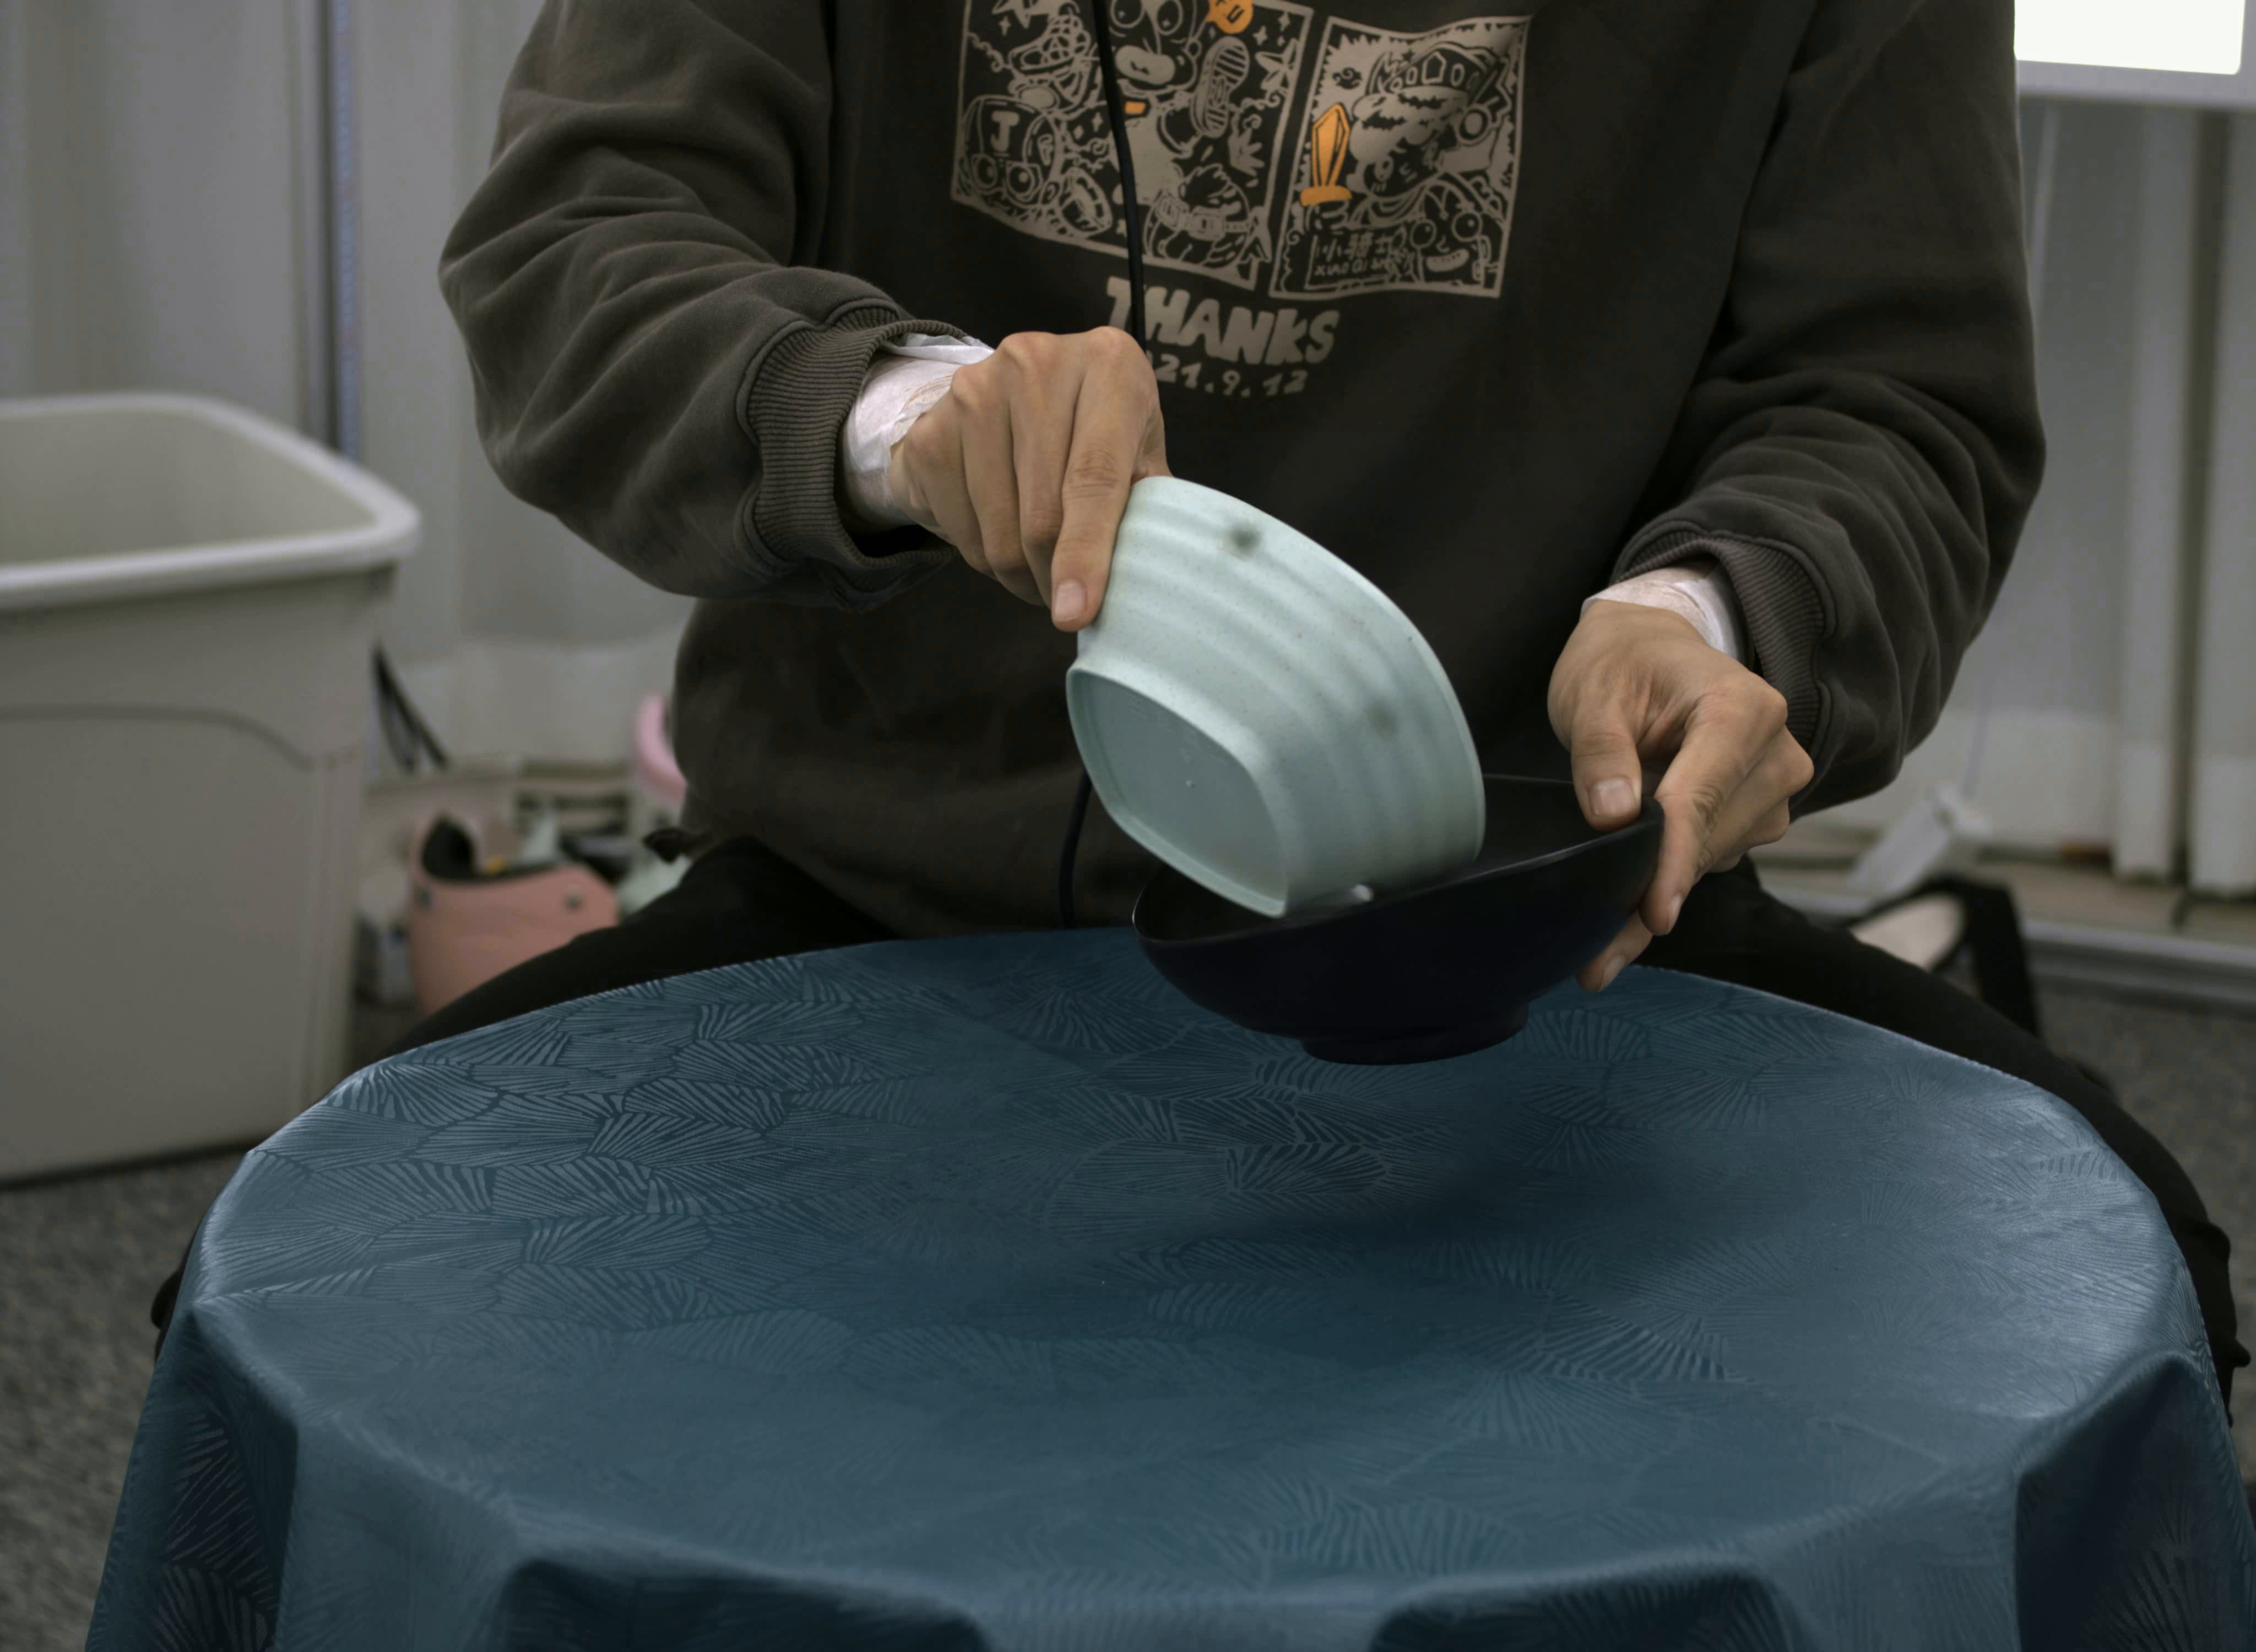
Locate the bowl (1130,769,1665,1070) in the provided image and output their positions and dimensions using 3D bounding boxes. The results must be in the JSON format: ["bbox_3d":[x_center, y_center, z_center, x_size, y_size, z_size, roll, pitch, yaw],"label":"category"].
[{"bbox_3d":[0.085,0.033,1.591,0.171,0.067,0.136,-14,15,-25],"label":"bowl"}]

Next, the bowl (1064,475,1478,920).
[{"bbox_3d":[0.032,-0.027,1.550,0.058,0.153,0.149,-43,36,-22],"label":"bowl"}]
